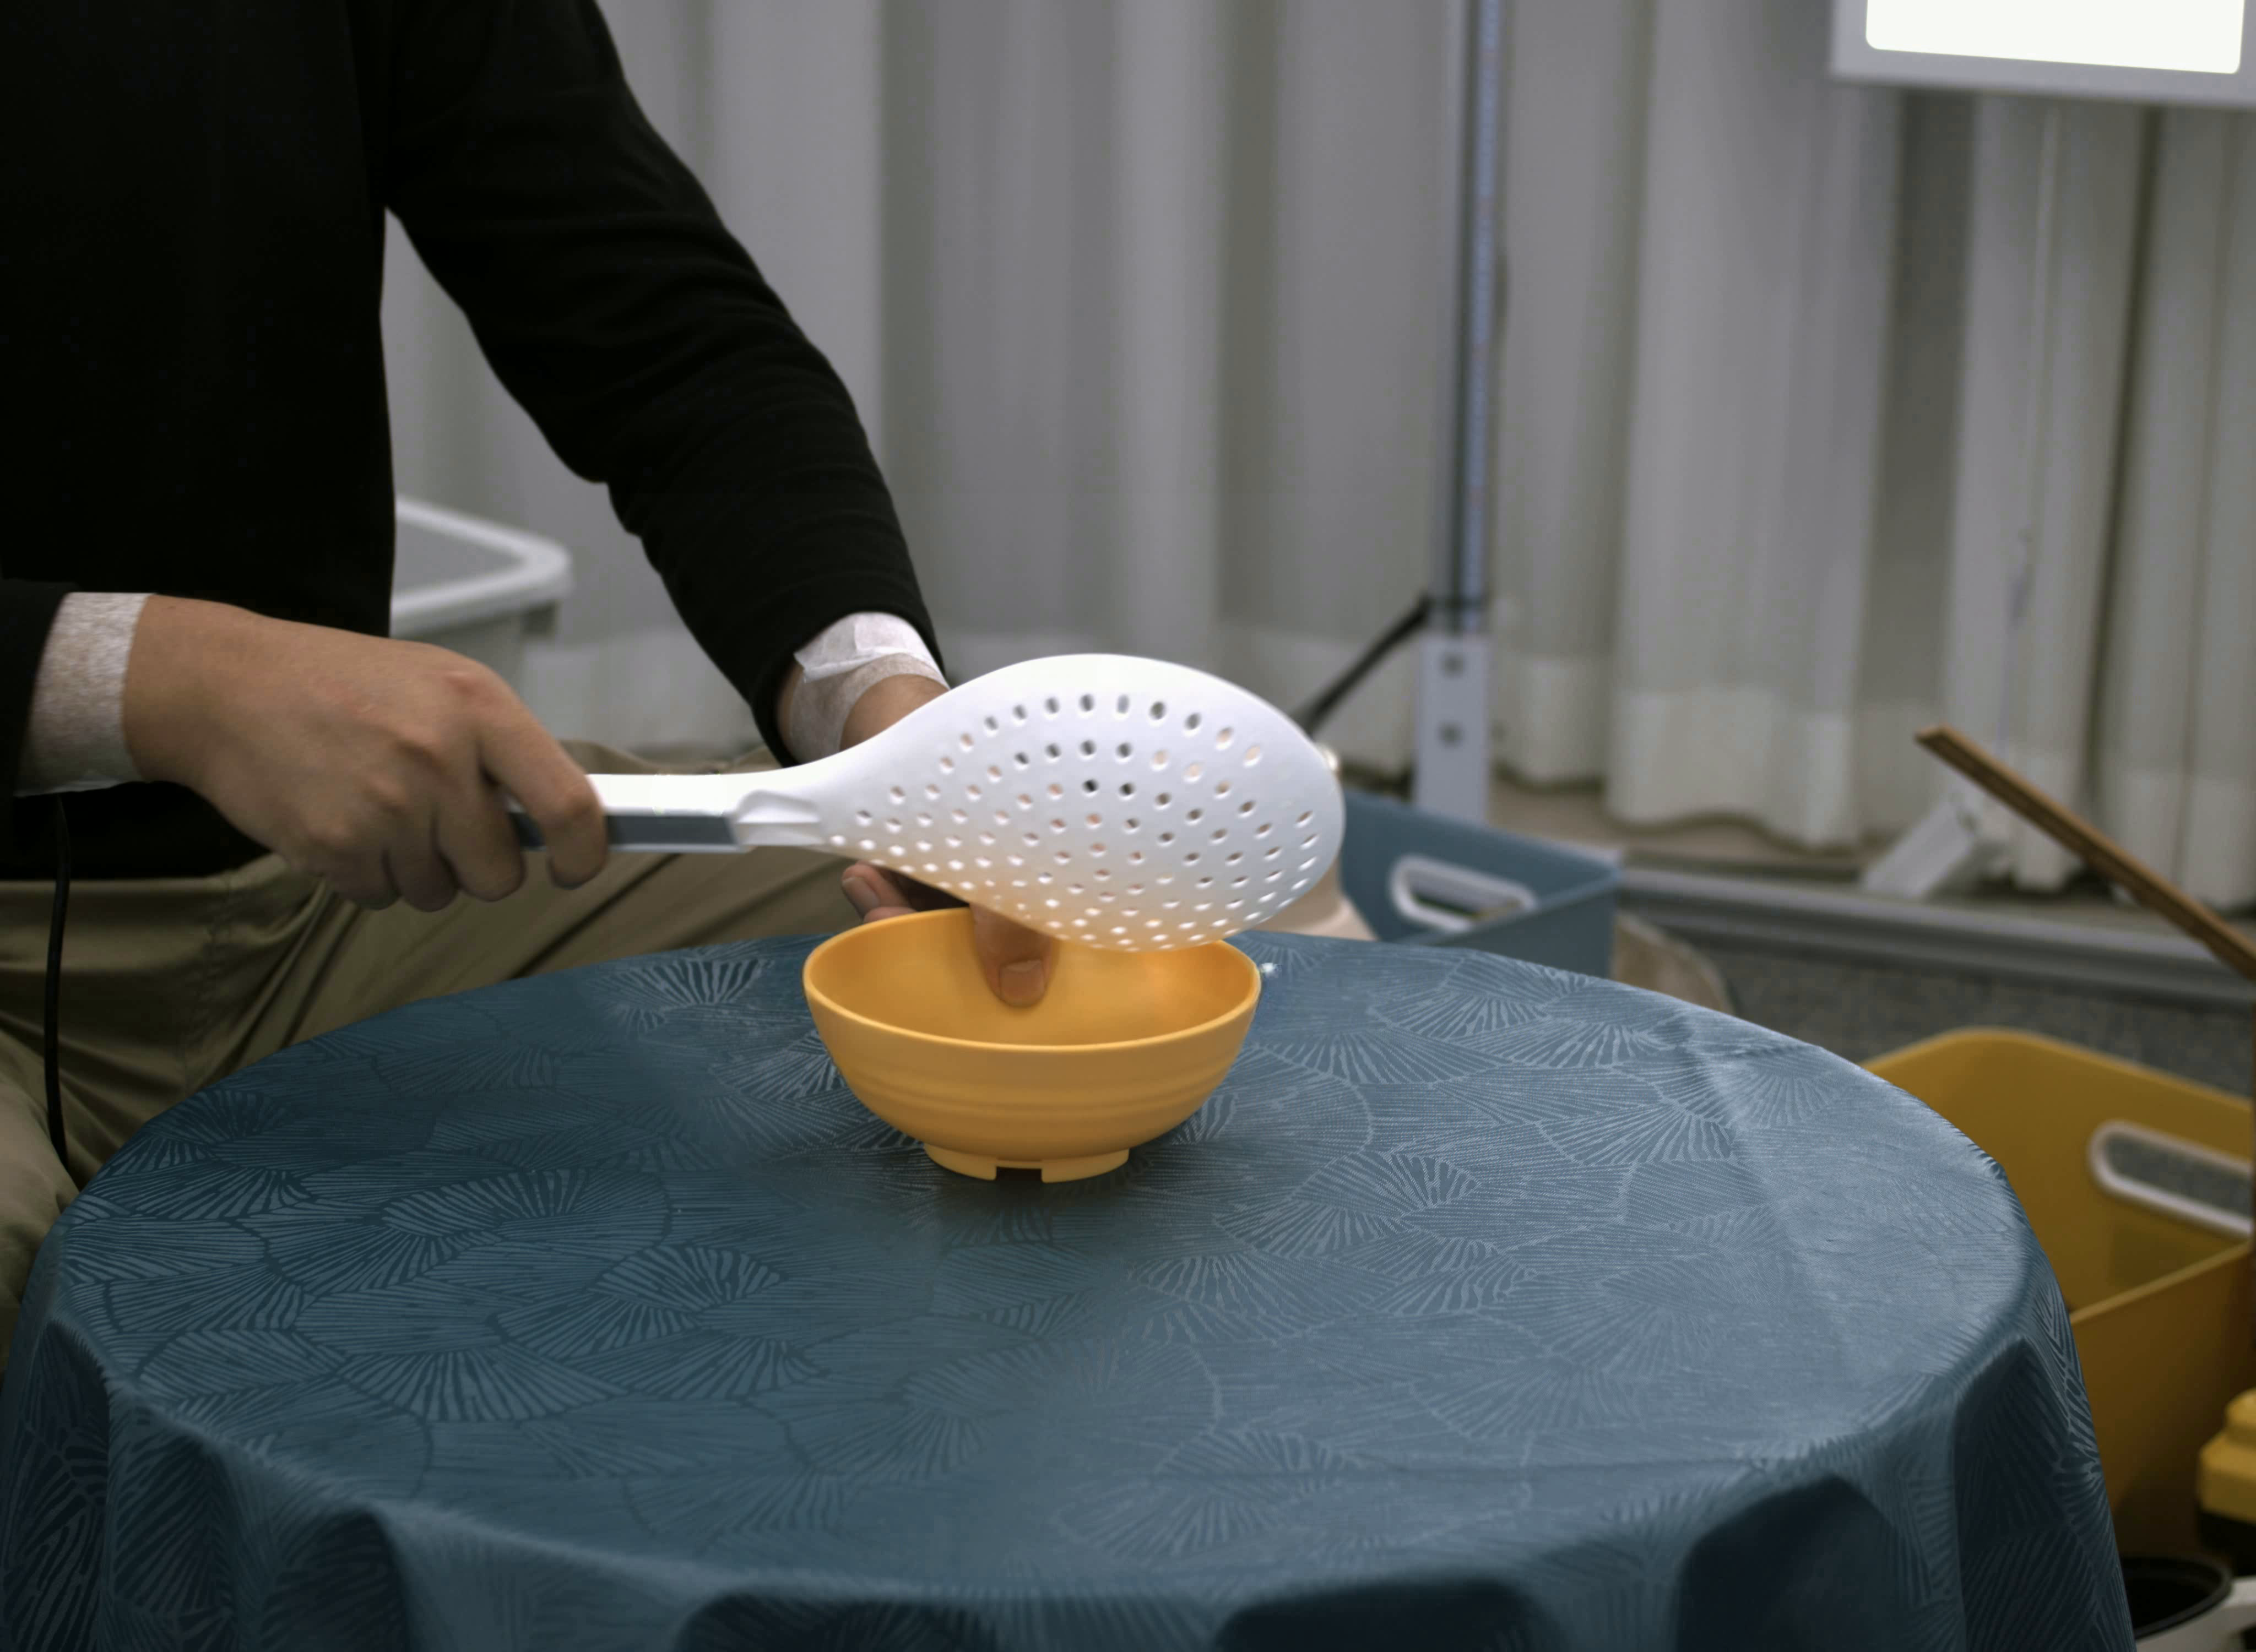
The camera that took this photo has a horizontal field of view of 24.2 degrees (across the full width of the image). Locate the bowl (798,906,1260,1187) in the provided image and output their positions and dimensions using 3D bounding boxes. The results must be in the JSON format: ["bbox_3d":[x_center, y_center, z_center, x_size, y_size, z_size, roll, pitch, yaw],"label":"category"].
[{"bbox_3d":[-0.032,0.075,1.649,0.145,0.060,0.144,4,16,-1],"label":"bowl"}]

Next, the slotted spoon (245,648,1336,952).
[{"bbox_3d":[-0.109,-0.004,1.644,0.347,0.138,0.045,4,52,14],"label":"slotted spoon"}]
